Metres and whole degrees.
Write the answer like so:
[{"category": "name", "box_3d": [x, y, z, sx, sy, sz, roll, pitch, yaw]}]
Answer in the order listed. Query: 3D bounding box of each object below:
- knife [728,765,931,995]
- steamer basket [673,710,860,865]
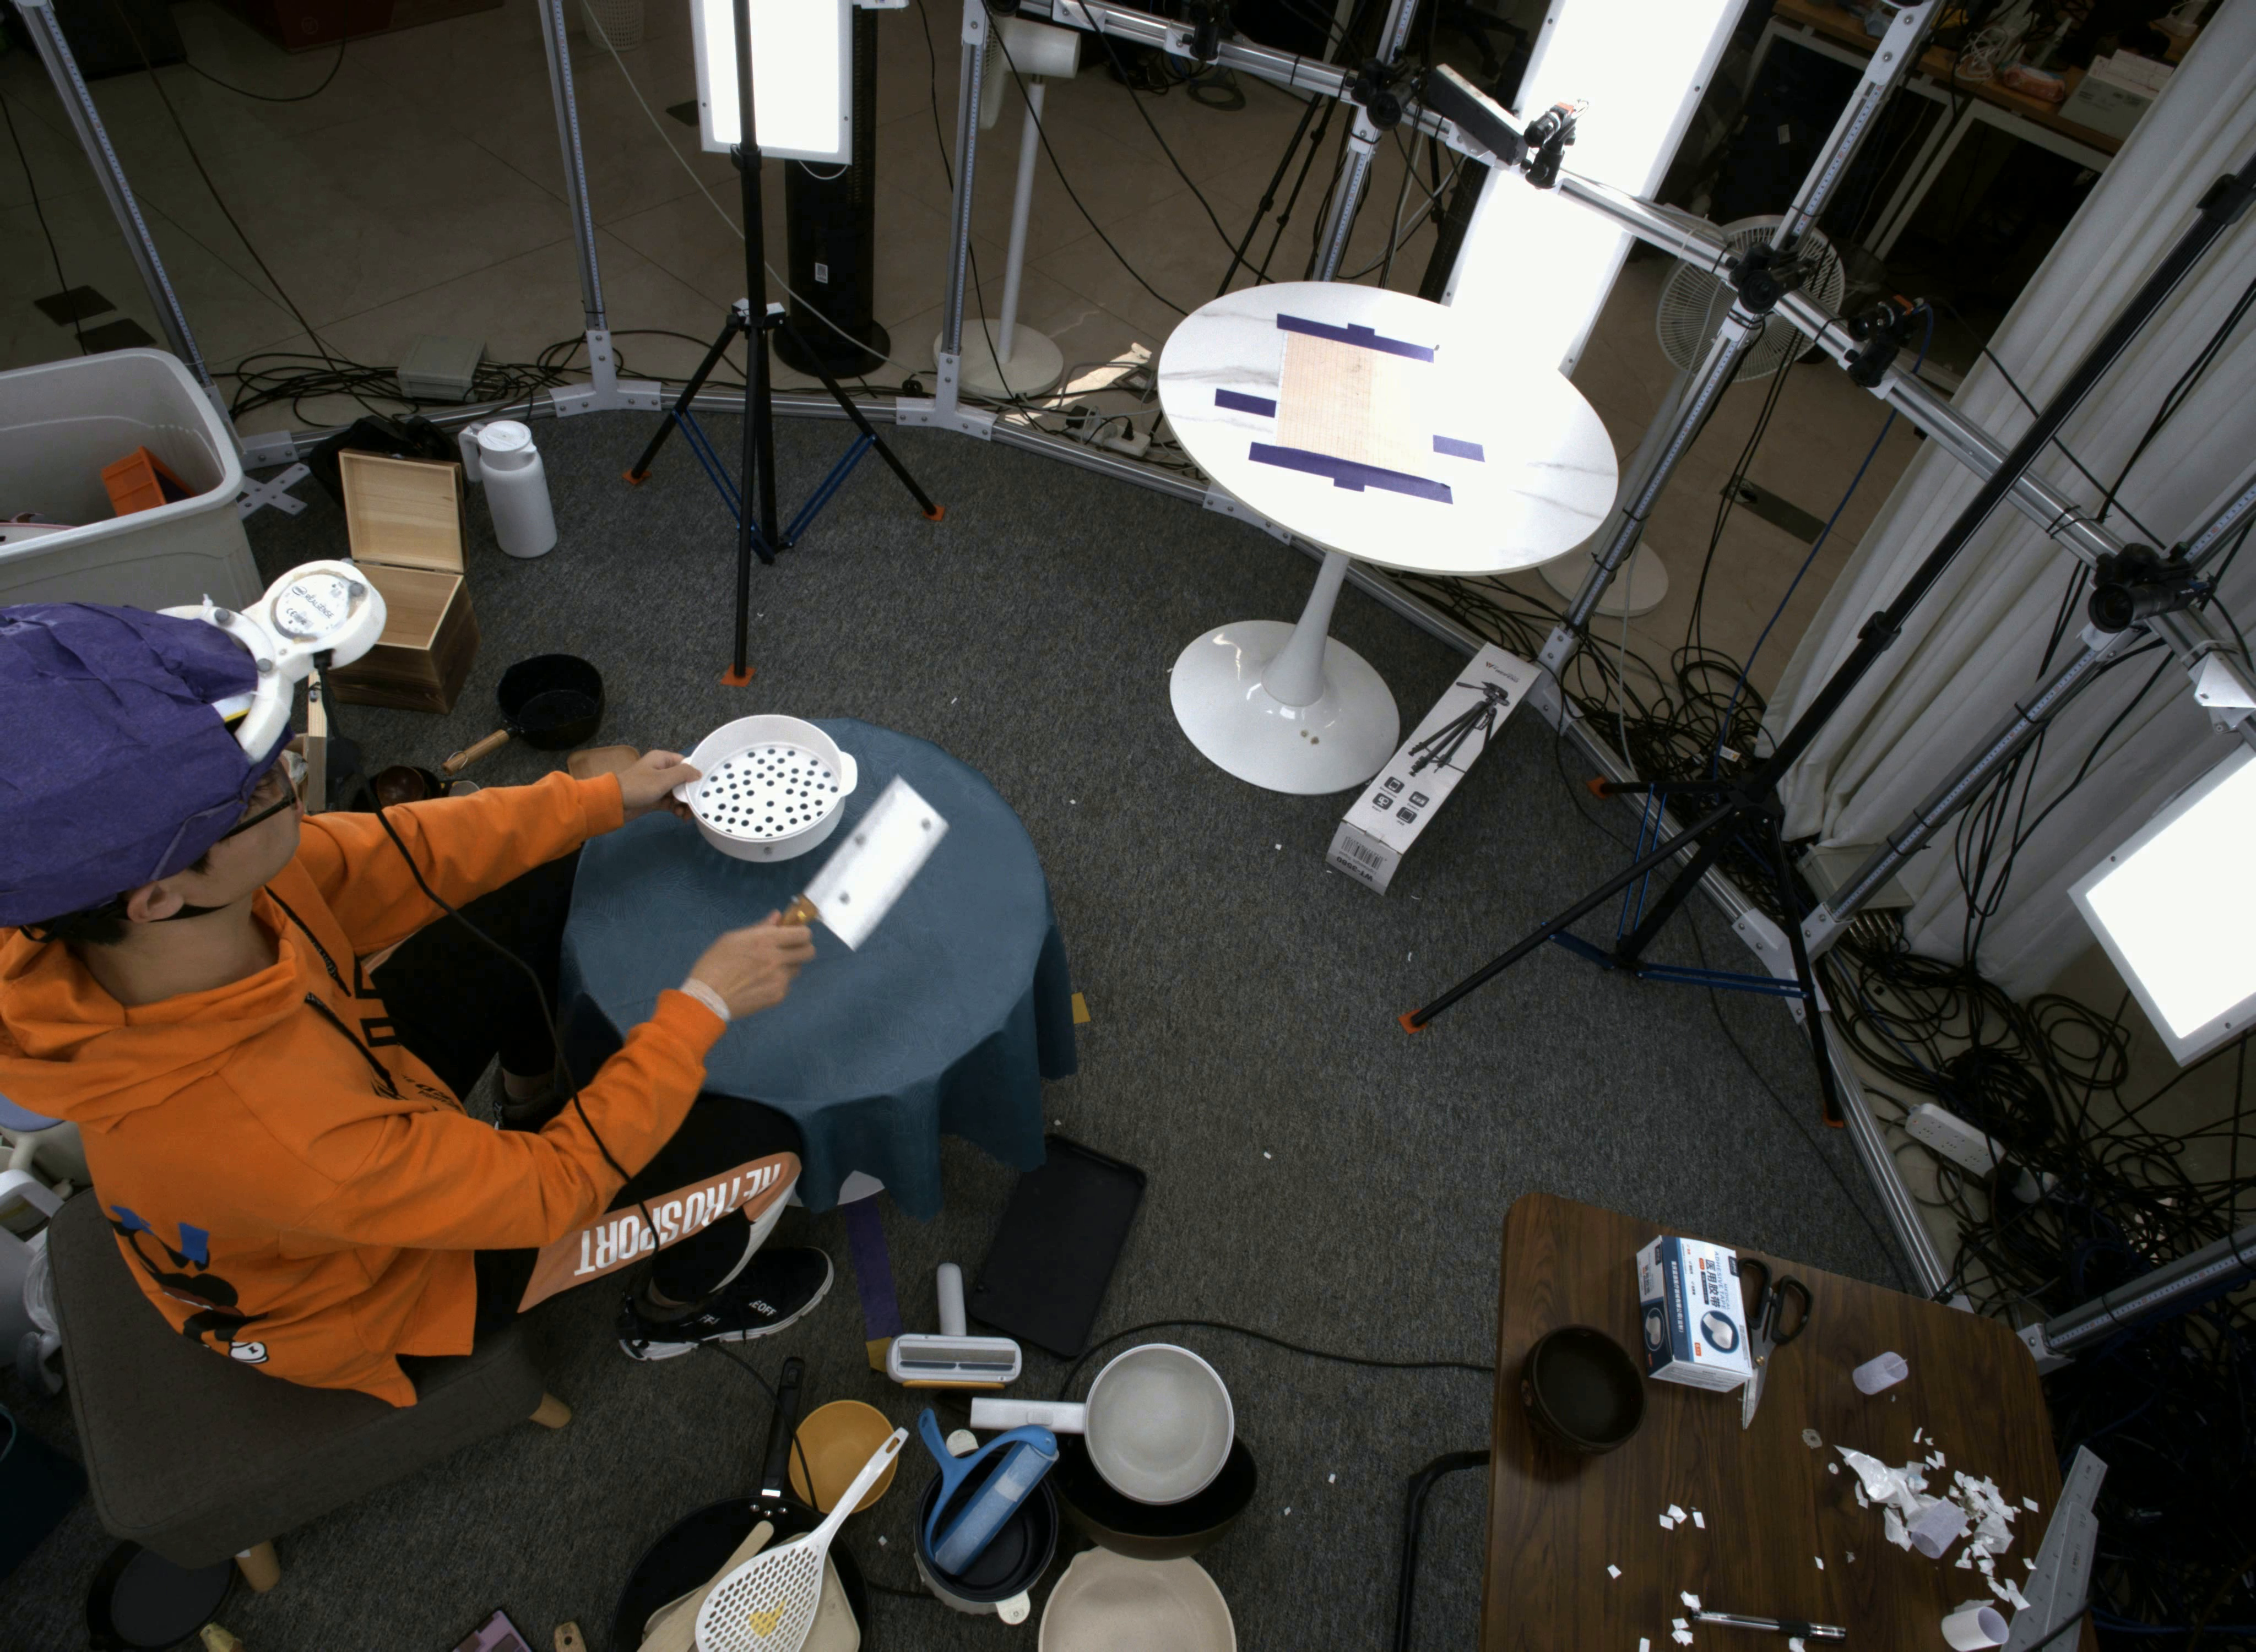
[{"category": "knife", "box_3d": [-0.325, 0.072, 1.456, 0.096, 0.020, 0.305, 47, 66, -30]}, {"category": "steamer basket", "box_3d": [-0.455, -0.050, 1.642, 0.230, 0.070, 0.198, -2, 59, -13]}]
